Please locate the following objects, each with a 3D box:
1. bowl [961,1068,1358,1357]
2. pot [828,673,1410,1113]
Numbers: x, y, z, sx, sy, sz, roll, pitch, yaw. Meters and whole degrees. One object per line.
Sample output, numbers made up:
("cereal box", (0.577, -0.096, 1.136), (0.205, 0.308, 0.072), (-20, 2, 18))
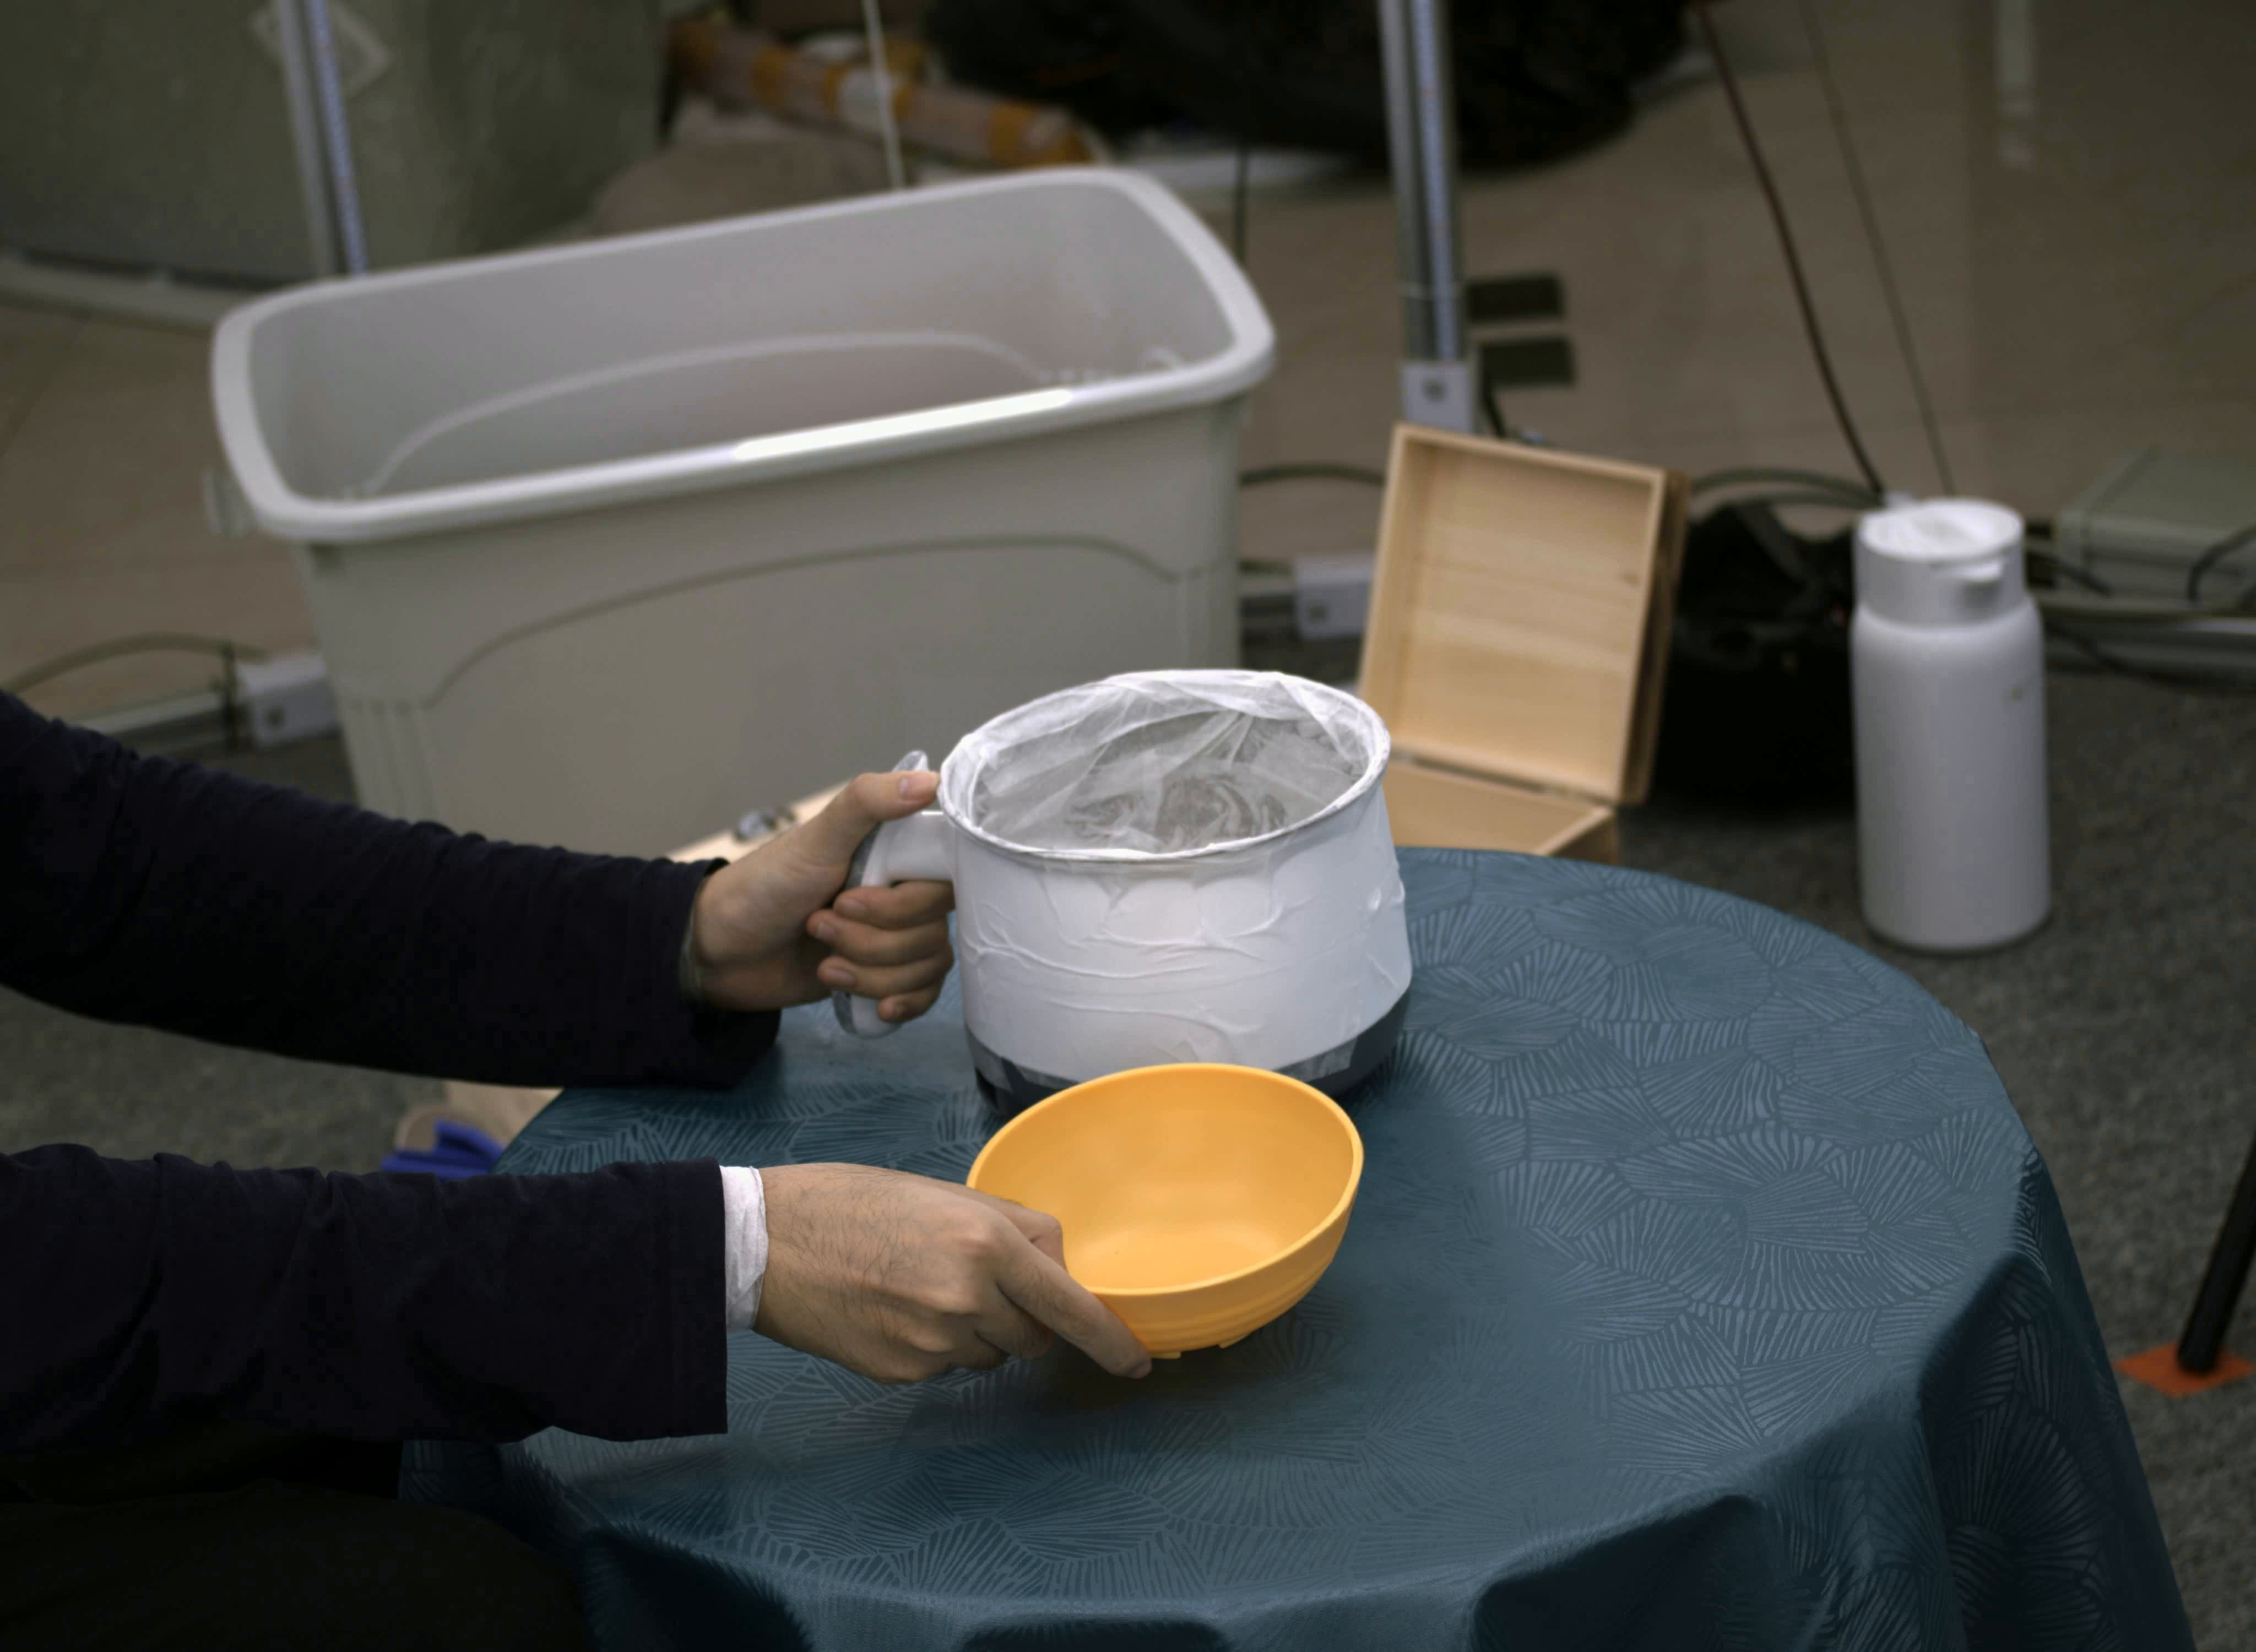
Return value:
("bowl", (0.014, 0.149, 2.044), (0.145, 0.061, 0.143), (-5, 30, 3))
("pot", (-0.007, 0.031, 2.217), (0.233, 0.138, 0.176), (0, 23, 11))
